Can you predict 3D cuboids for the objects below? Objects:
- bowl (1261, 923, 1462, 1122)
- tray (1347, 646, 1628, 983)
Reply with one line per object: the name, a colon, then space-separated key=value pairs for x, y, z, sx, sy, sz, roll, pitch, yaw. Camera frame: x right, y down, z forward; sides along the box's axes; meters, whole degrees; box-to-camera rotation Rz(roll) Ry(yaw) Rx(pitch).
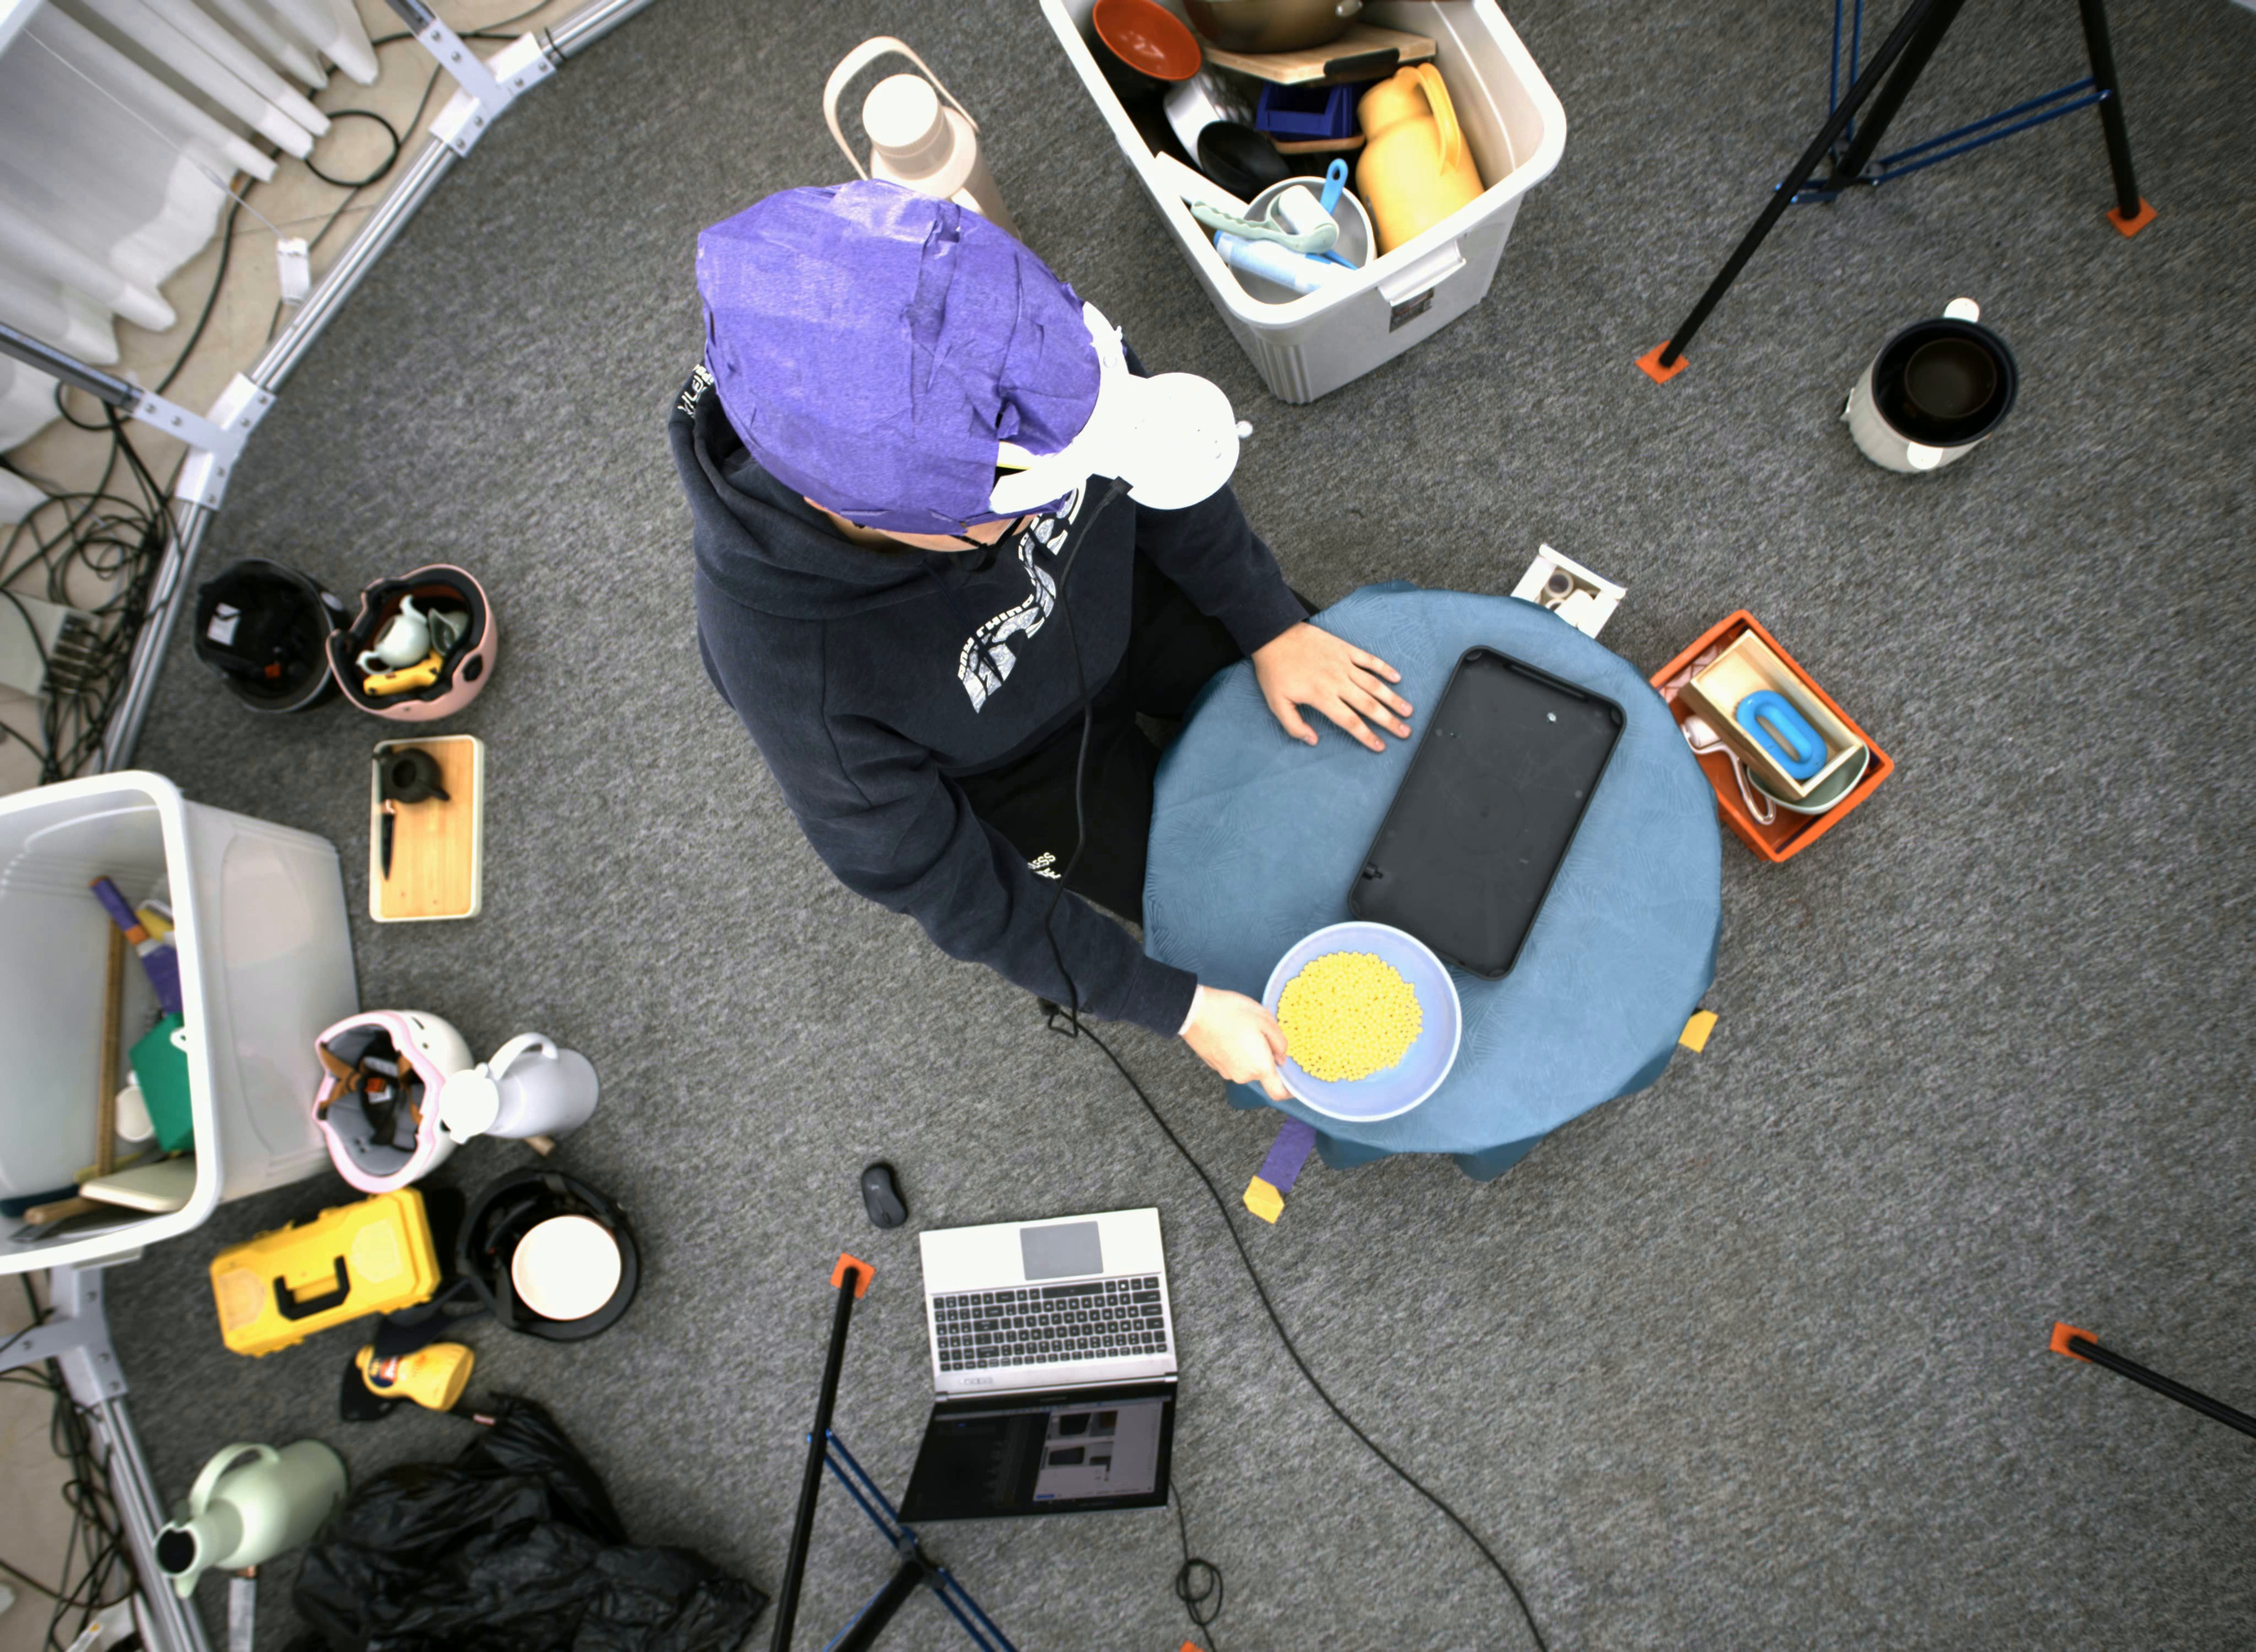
bowl: x=0.236 y=0.197 z=1.410 sx=0.197 sy=0.095 sz=0.195 roll=-1 pitch=86 yaw=9
tray: x=0.371 y=-0.015 z=1.427 sx=0.184 sy=0.037 sz=0.318 roll=26 pitch=91 yaw=12
